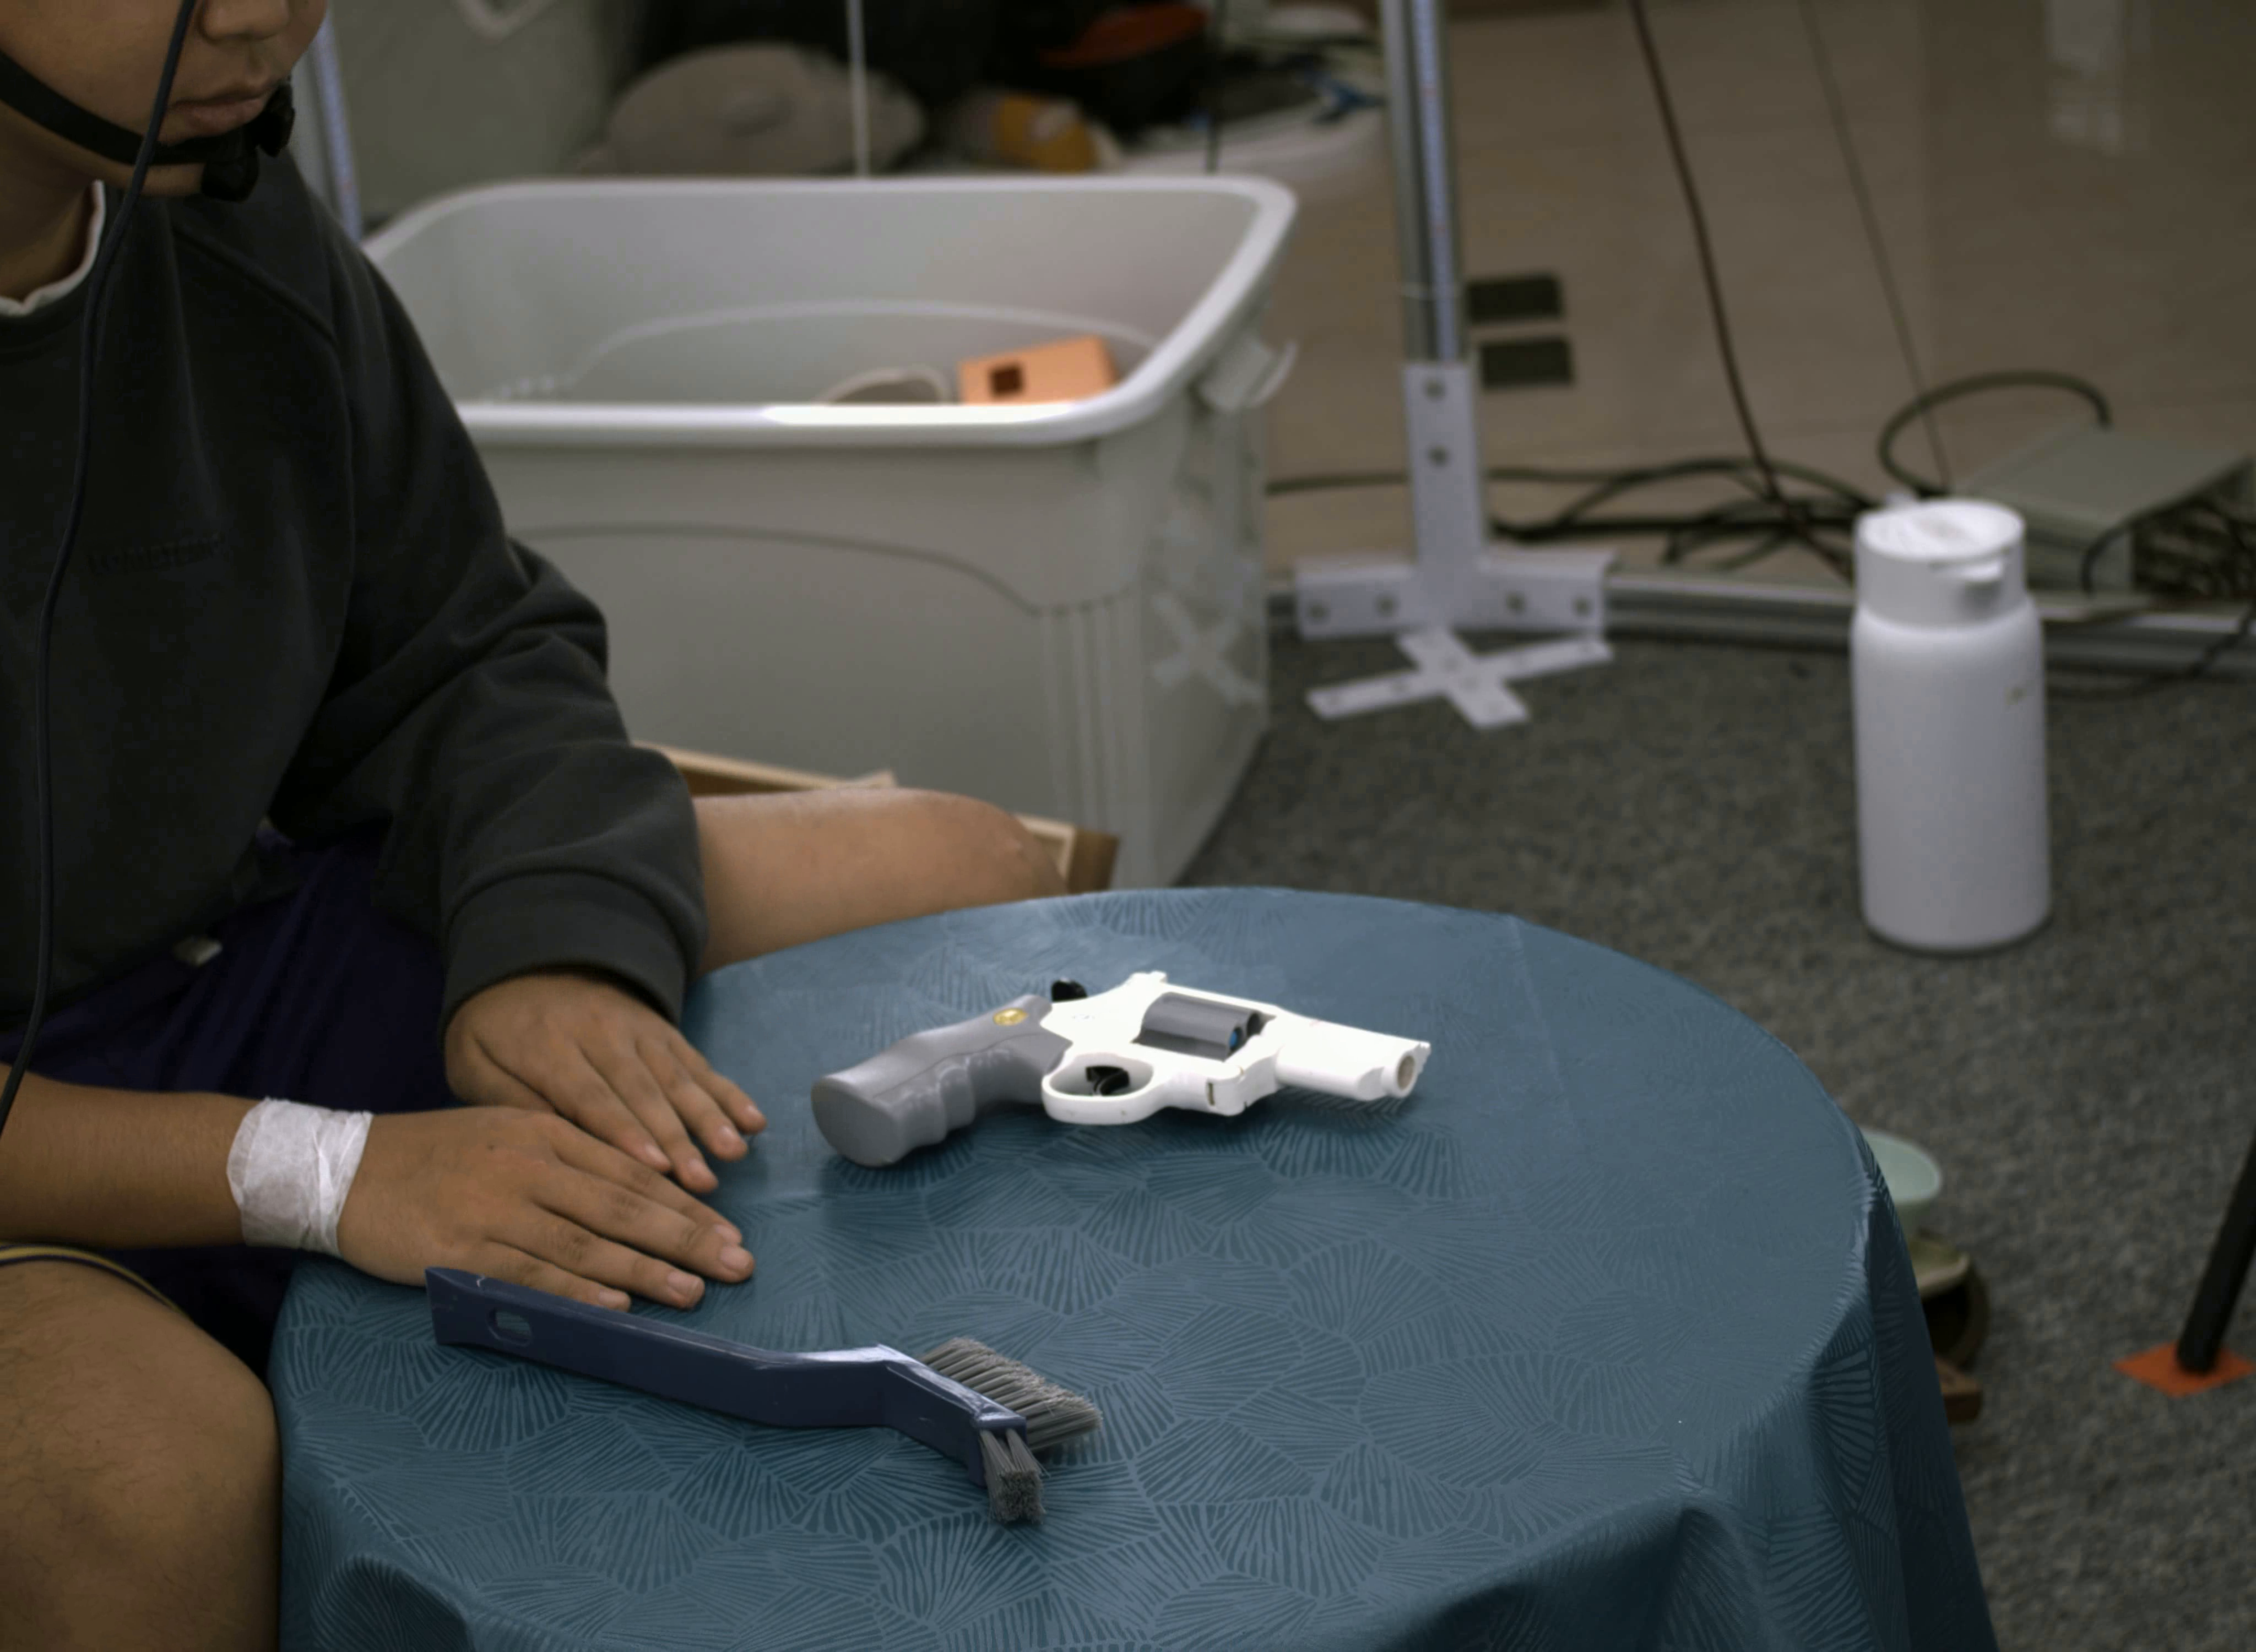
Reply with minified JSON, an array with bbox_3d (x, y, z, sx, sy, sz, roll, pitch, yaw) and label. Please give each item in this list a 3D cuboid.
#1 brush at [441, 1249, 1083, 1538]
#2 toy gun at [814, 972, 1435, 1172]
[{"bbox_3d":[-0.143,0.198,2.018,0.272,0.034,0.094,7,28,25],"label":"brush"},{"bbox_3d":[-0.003,0.098,2.189,0.208,0.039,0.140,9,30,31],"label":"toy gun"}]
